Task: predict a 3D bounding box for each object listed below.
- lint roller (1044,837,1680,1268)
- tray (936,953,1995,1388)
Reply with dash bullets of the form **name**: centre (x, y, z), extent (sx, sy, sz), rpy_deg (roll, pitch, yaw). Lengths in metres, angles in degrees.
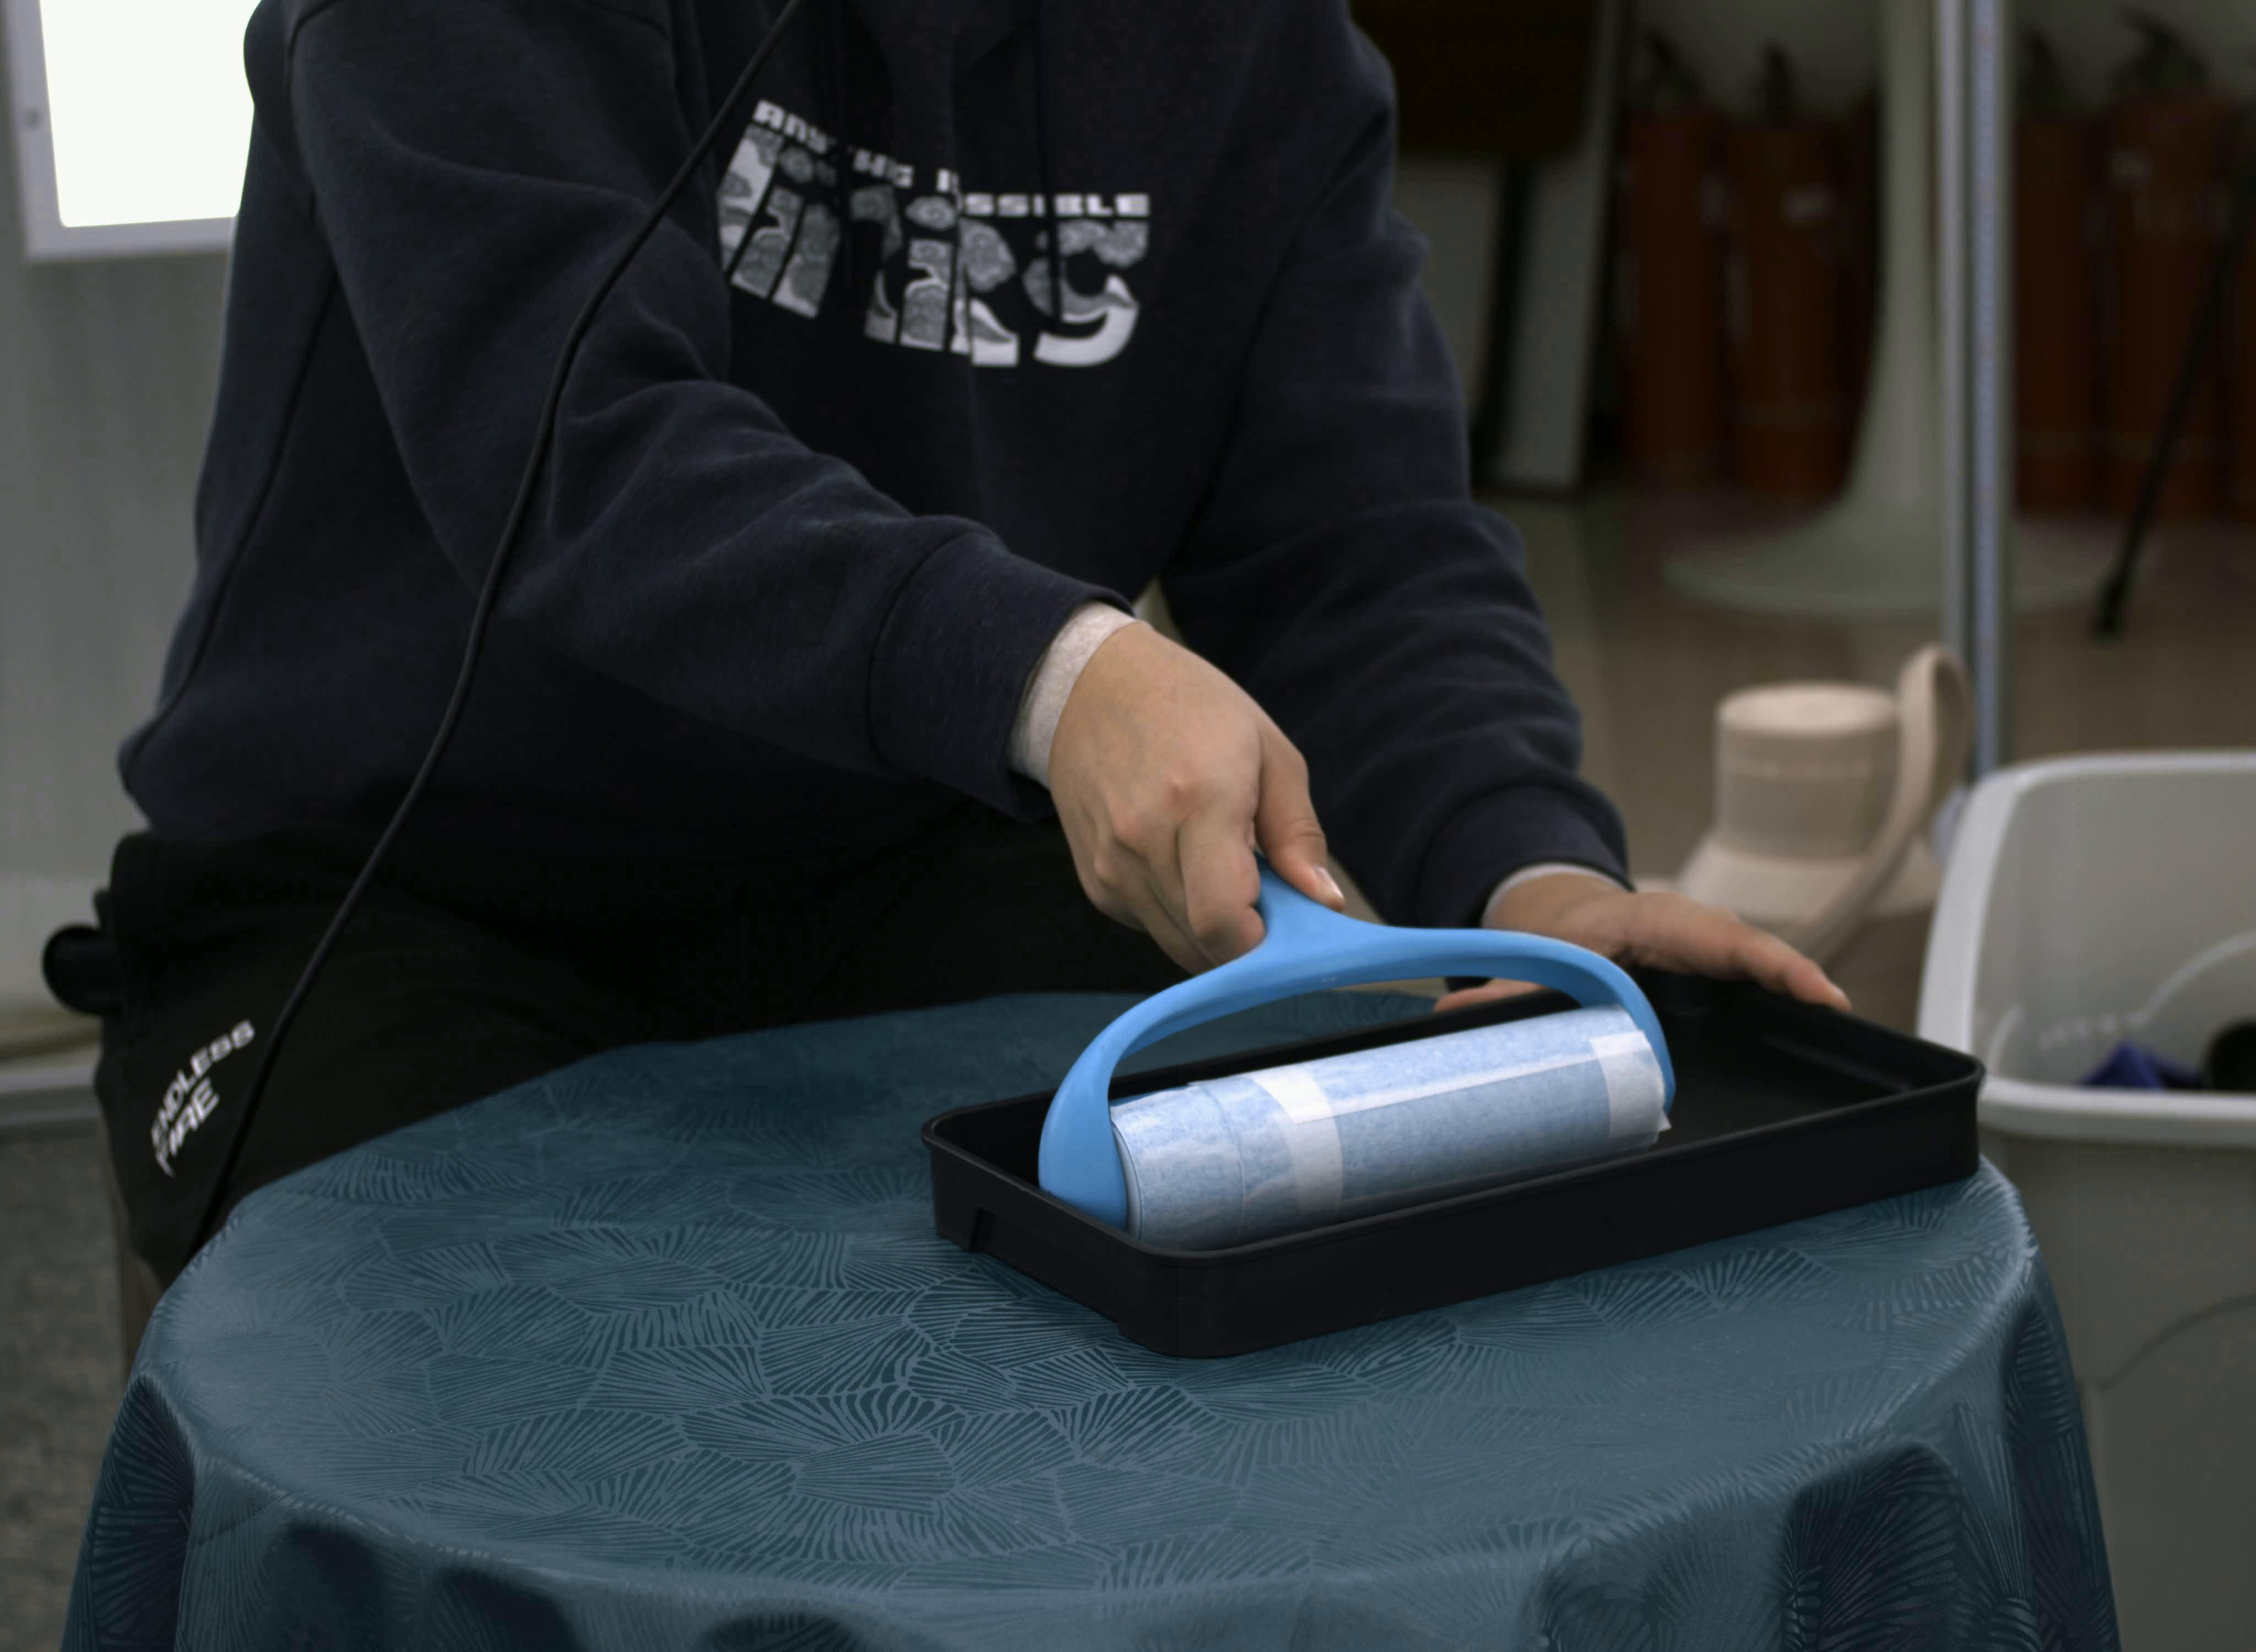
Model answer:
- **lint roller**: centre (0.052, 0.055, 1.747), extent (0.224, 0.068, 0.182), rpy_deg (-13, 52, -25)
- **tray**: centre (0.111, 0.106, 1.744), extent (0.311, 0.037, 0.186), rpy_deg (-14, 16, -27)
